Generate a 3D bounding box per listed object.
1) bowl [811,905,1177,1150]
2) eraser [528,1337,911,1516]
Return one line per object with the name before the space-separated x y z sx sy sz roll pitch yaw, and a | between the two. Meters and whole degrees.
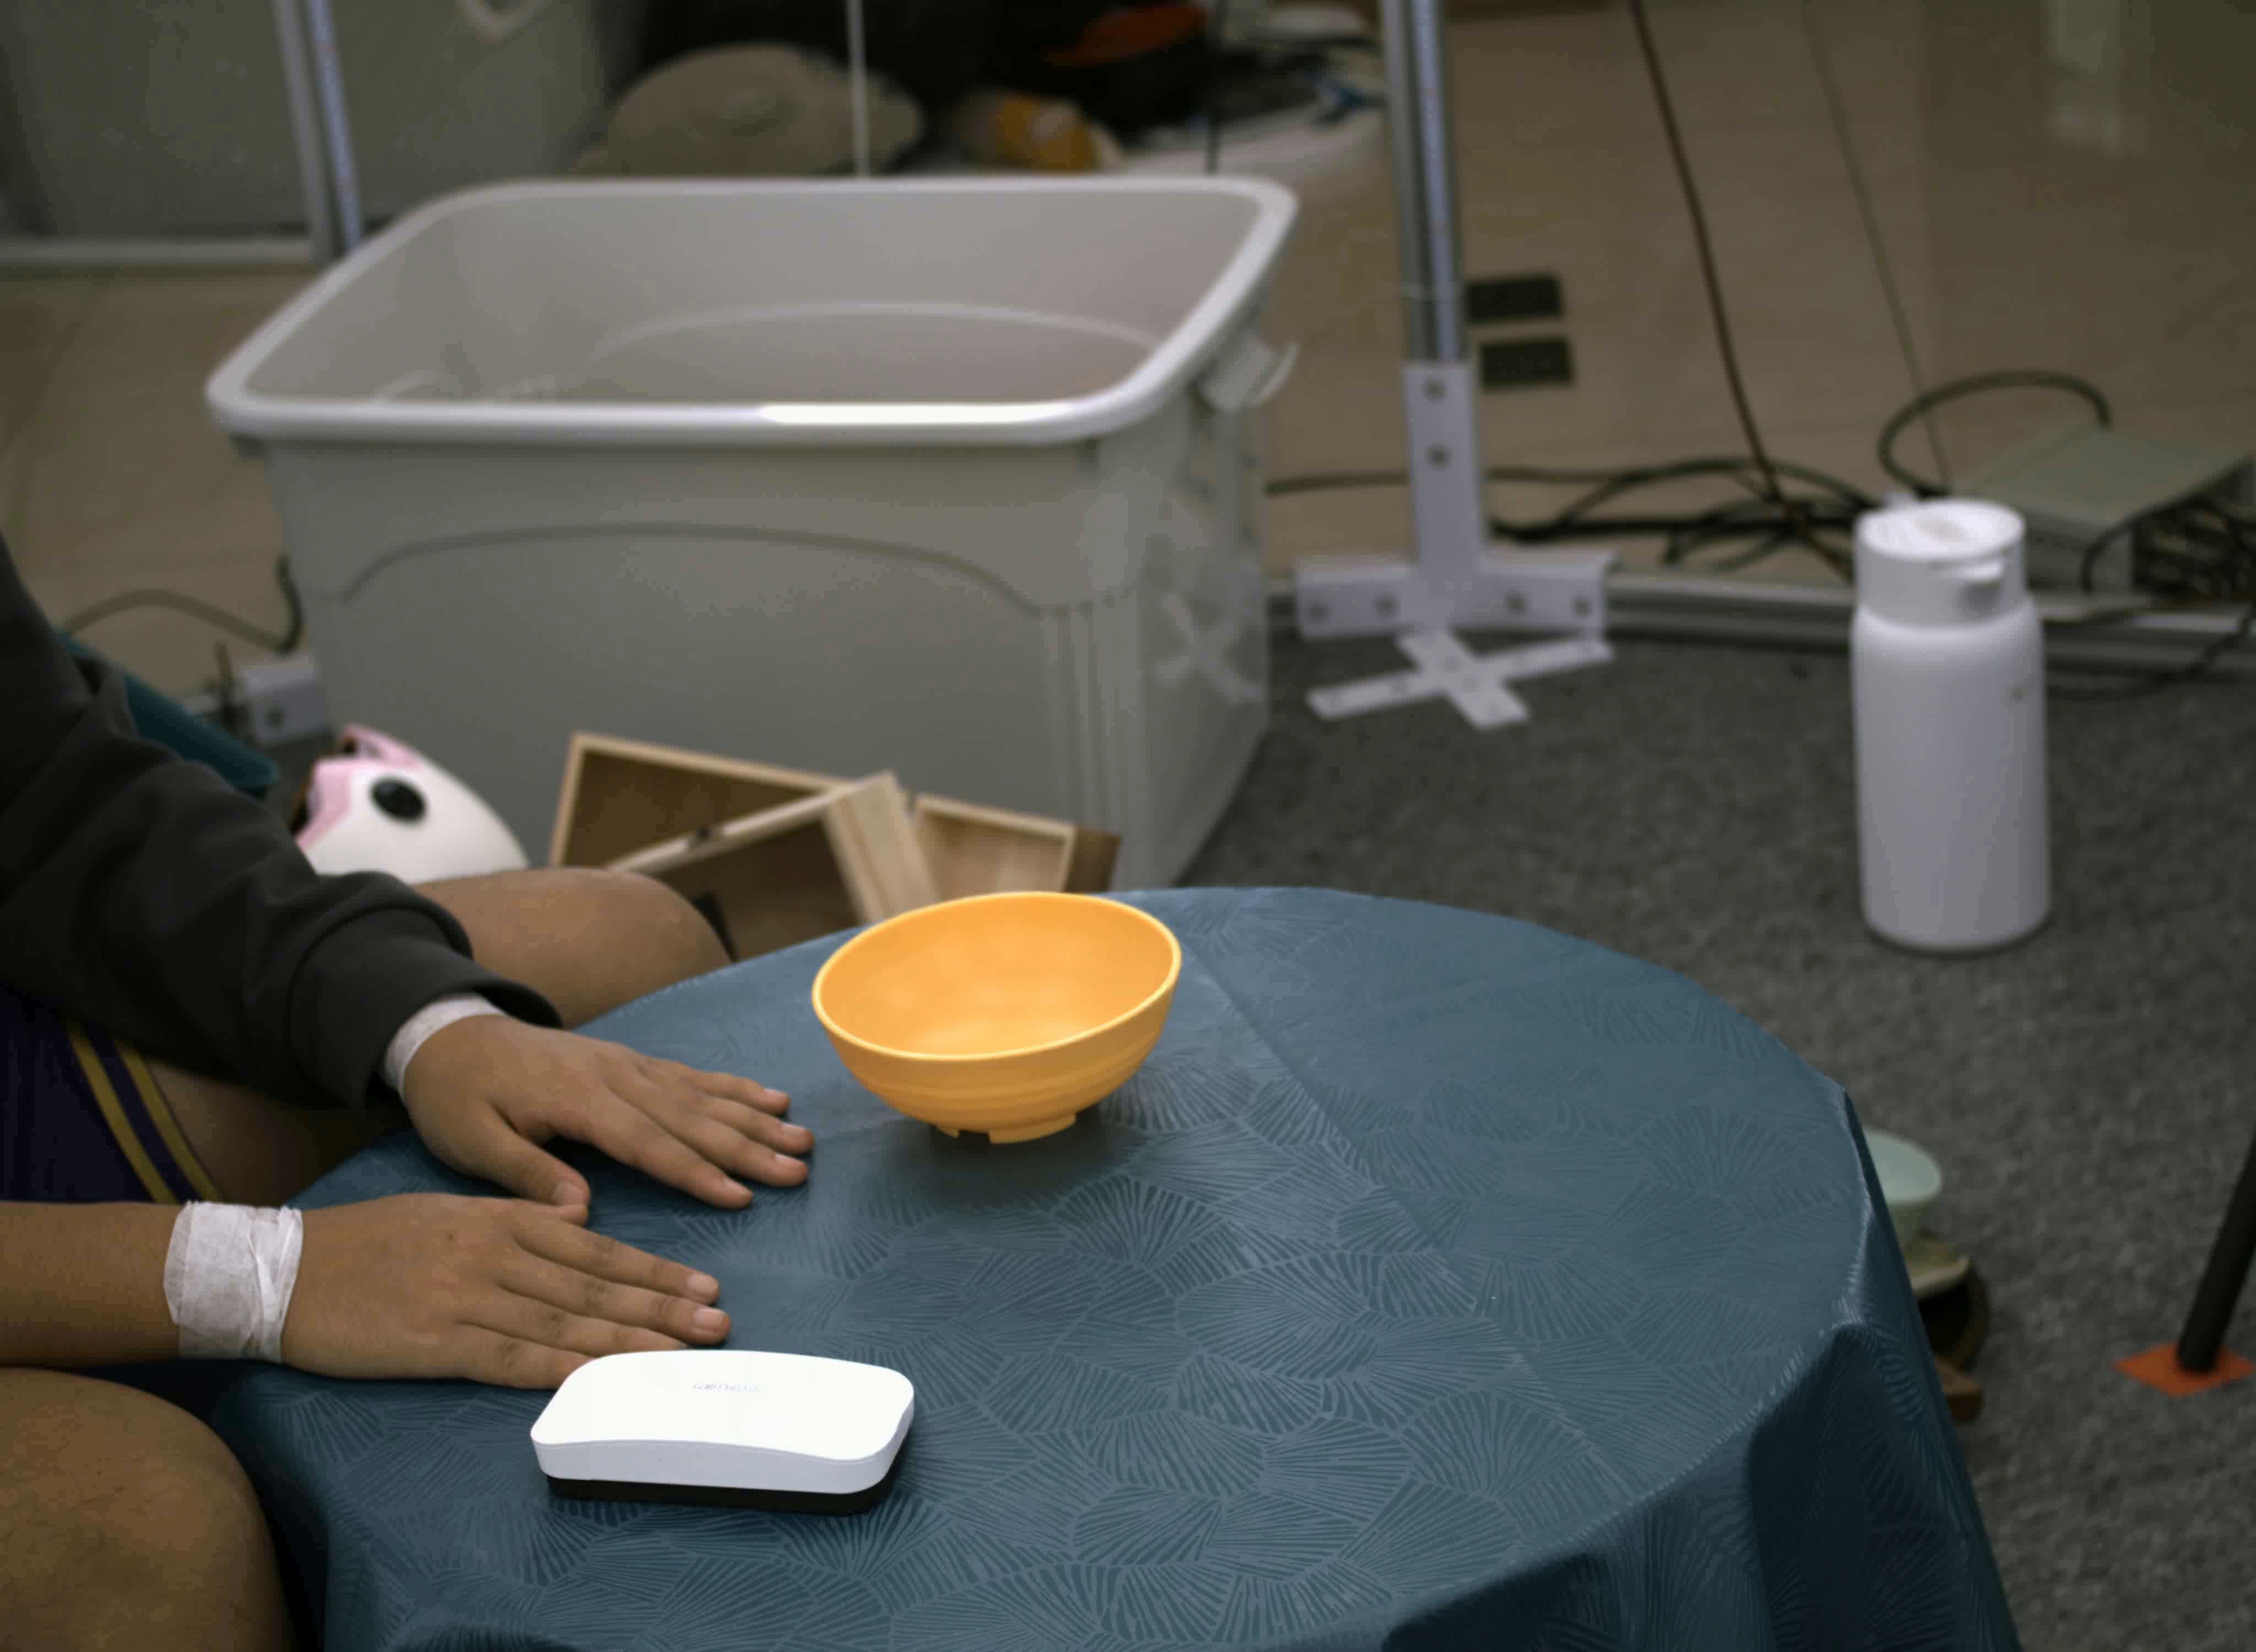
bowl | -0.049 0.086 2.209 0.145 0.061 0.143 -7 23 3
eraser | -0.142 0.211 1.990 0.131 0.035 0.062 3 26 17
